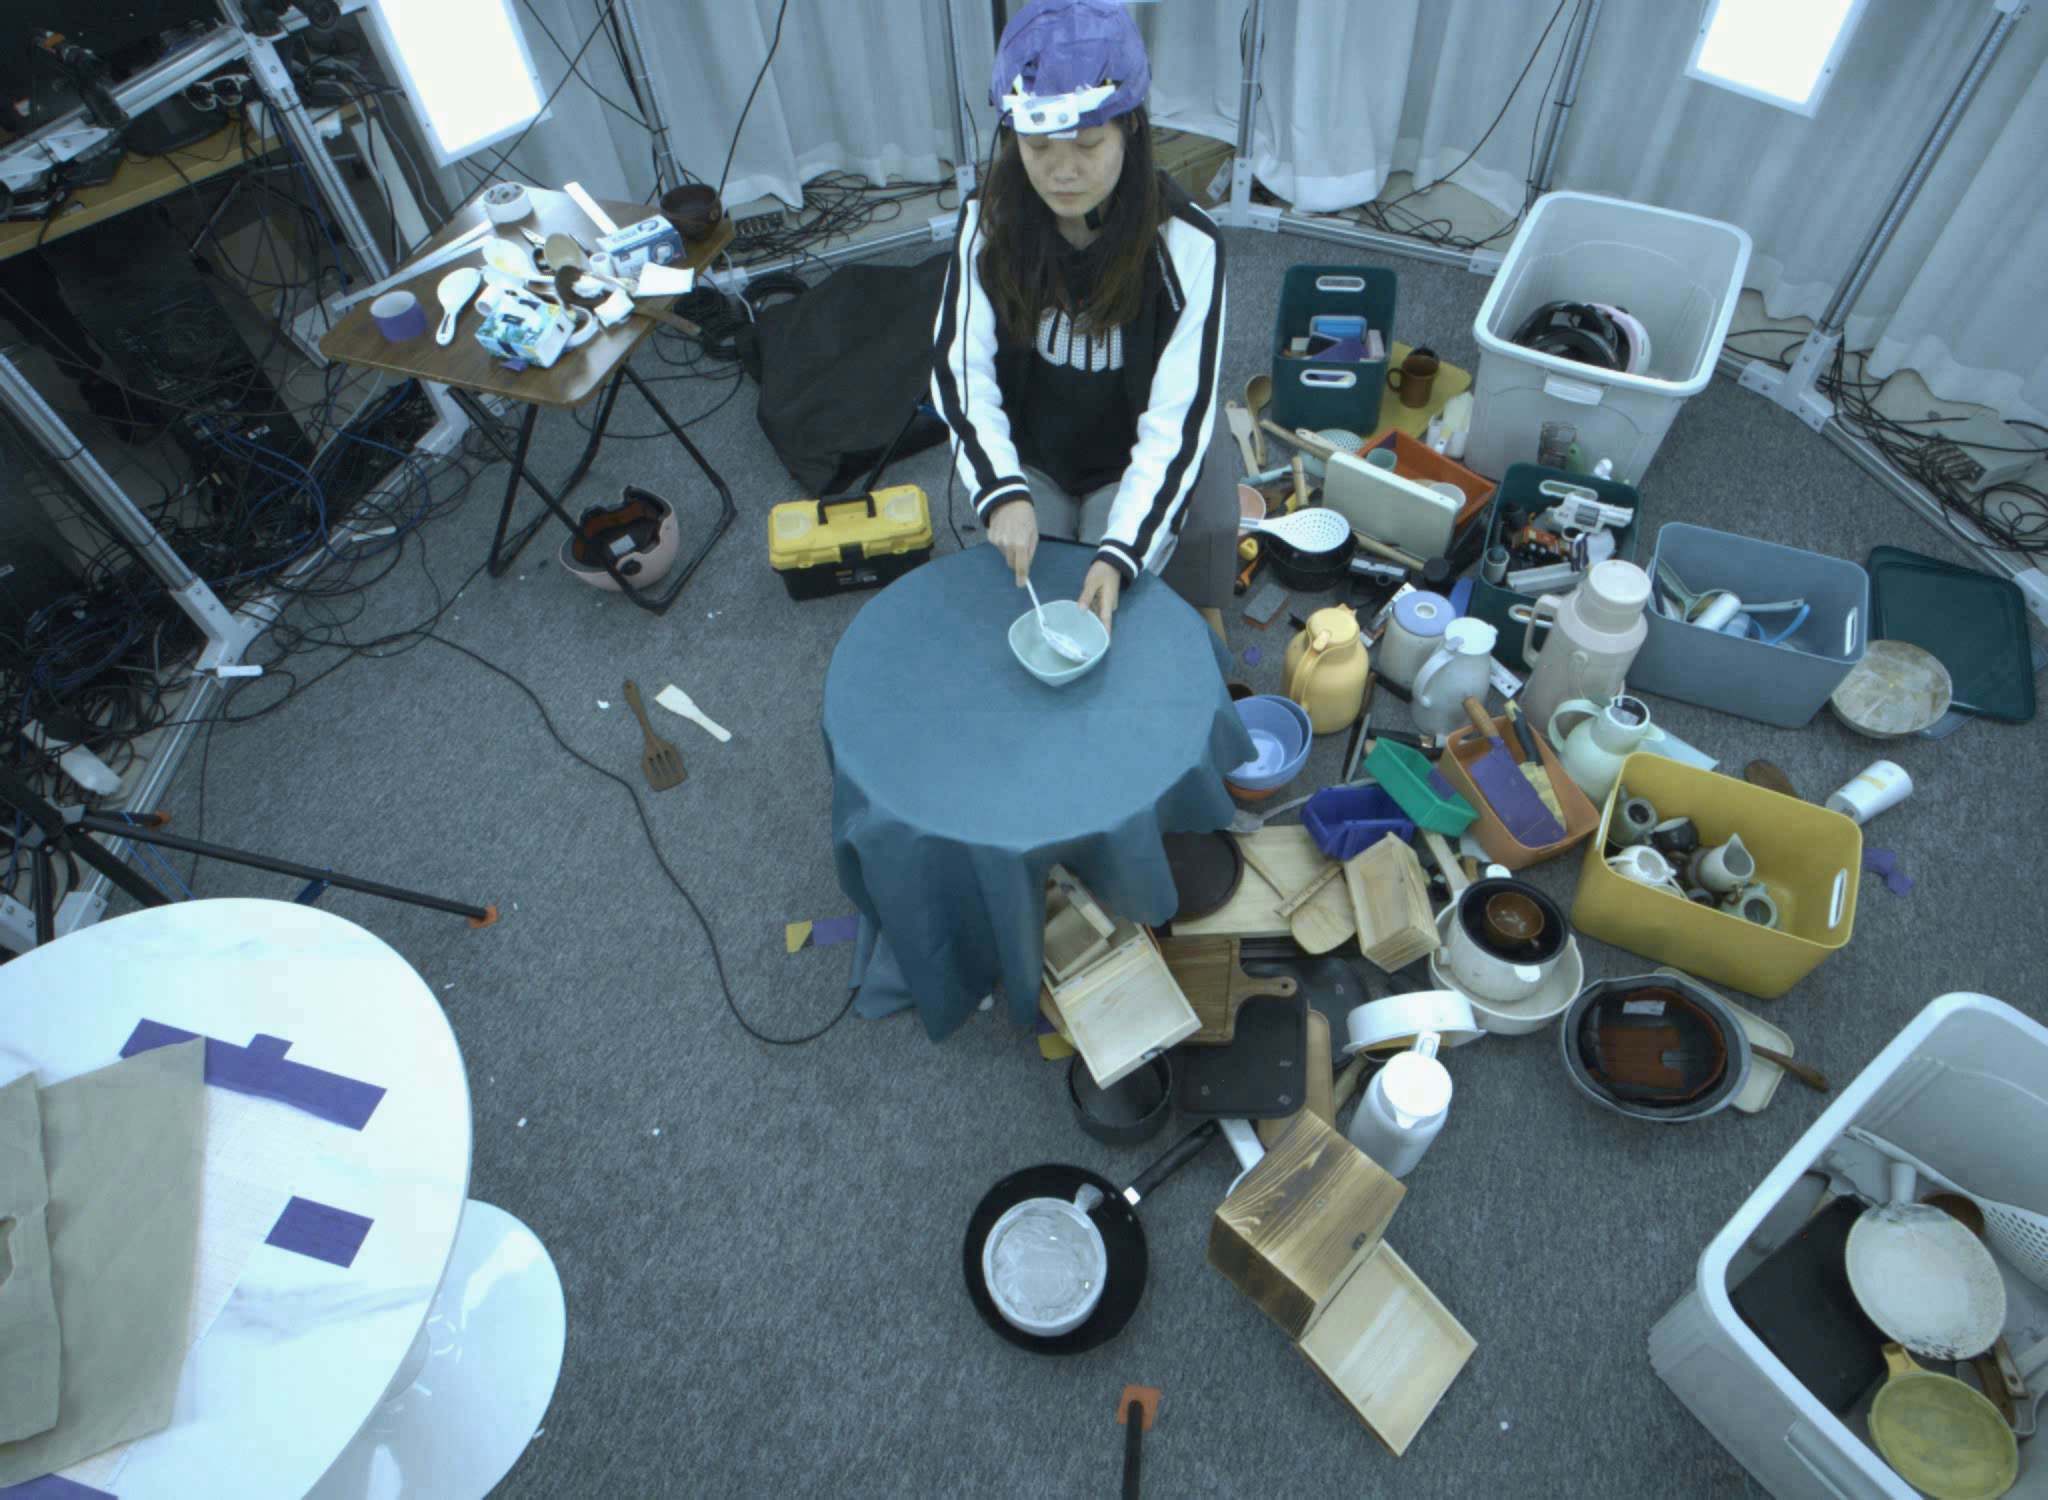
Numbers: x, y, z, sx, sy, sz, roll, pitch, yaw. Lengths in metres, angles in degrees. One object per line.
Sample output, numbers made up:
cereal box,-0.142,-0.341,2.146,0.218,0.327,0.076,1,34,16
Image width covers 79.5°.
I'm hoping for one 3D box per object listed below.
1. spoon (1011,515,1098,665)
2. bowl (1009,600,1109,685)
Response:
spoon,0.045,-0.247,1.871,0.059,0.102,0.275,-22,75,19
bowl,0.053,-0.153,1.861,0.151,0.059,0.150,0,55,2
